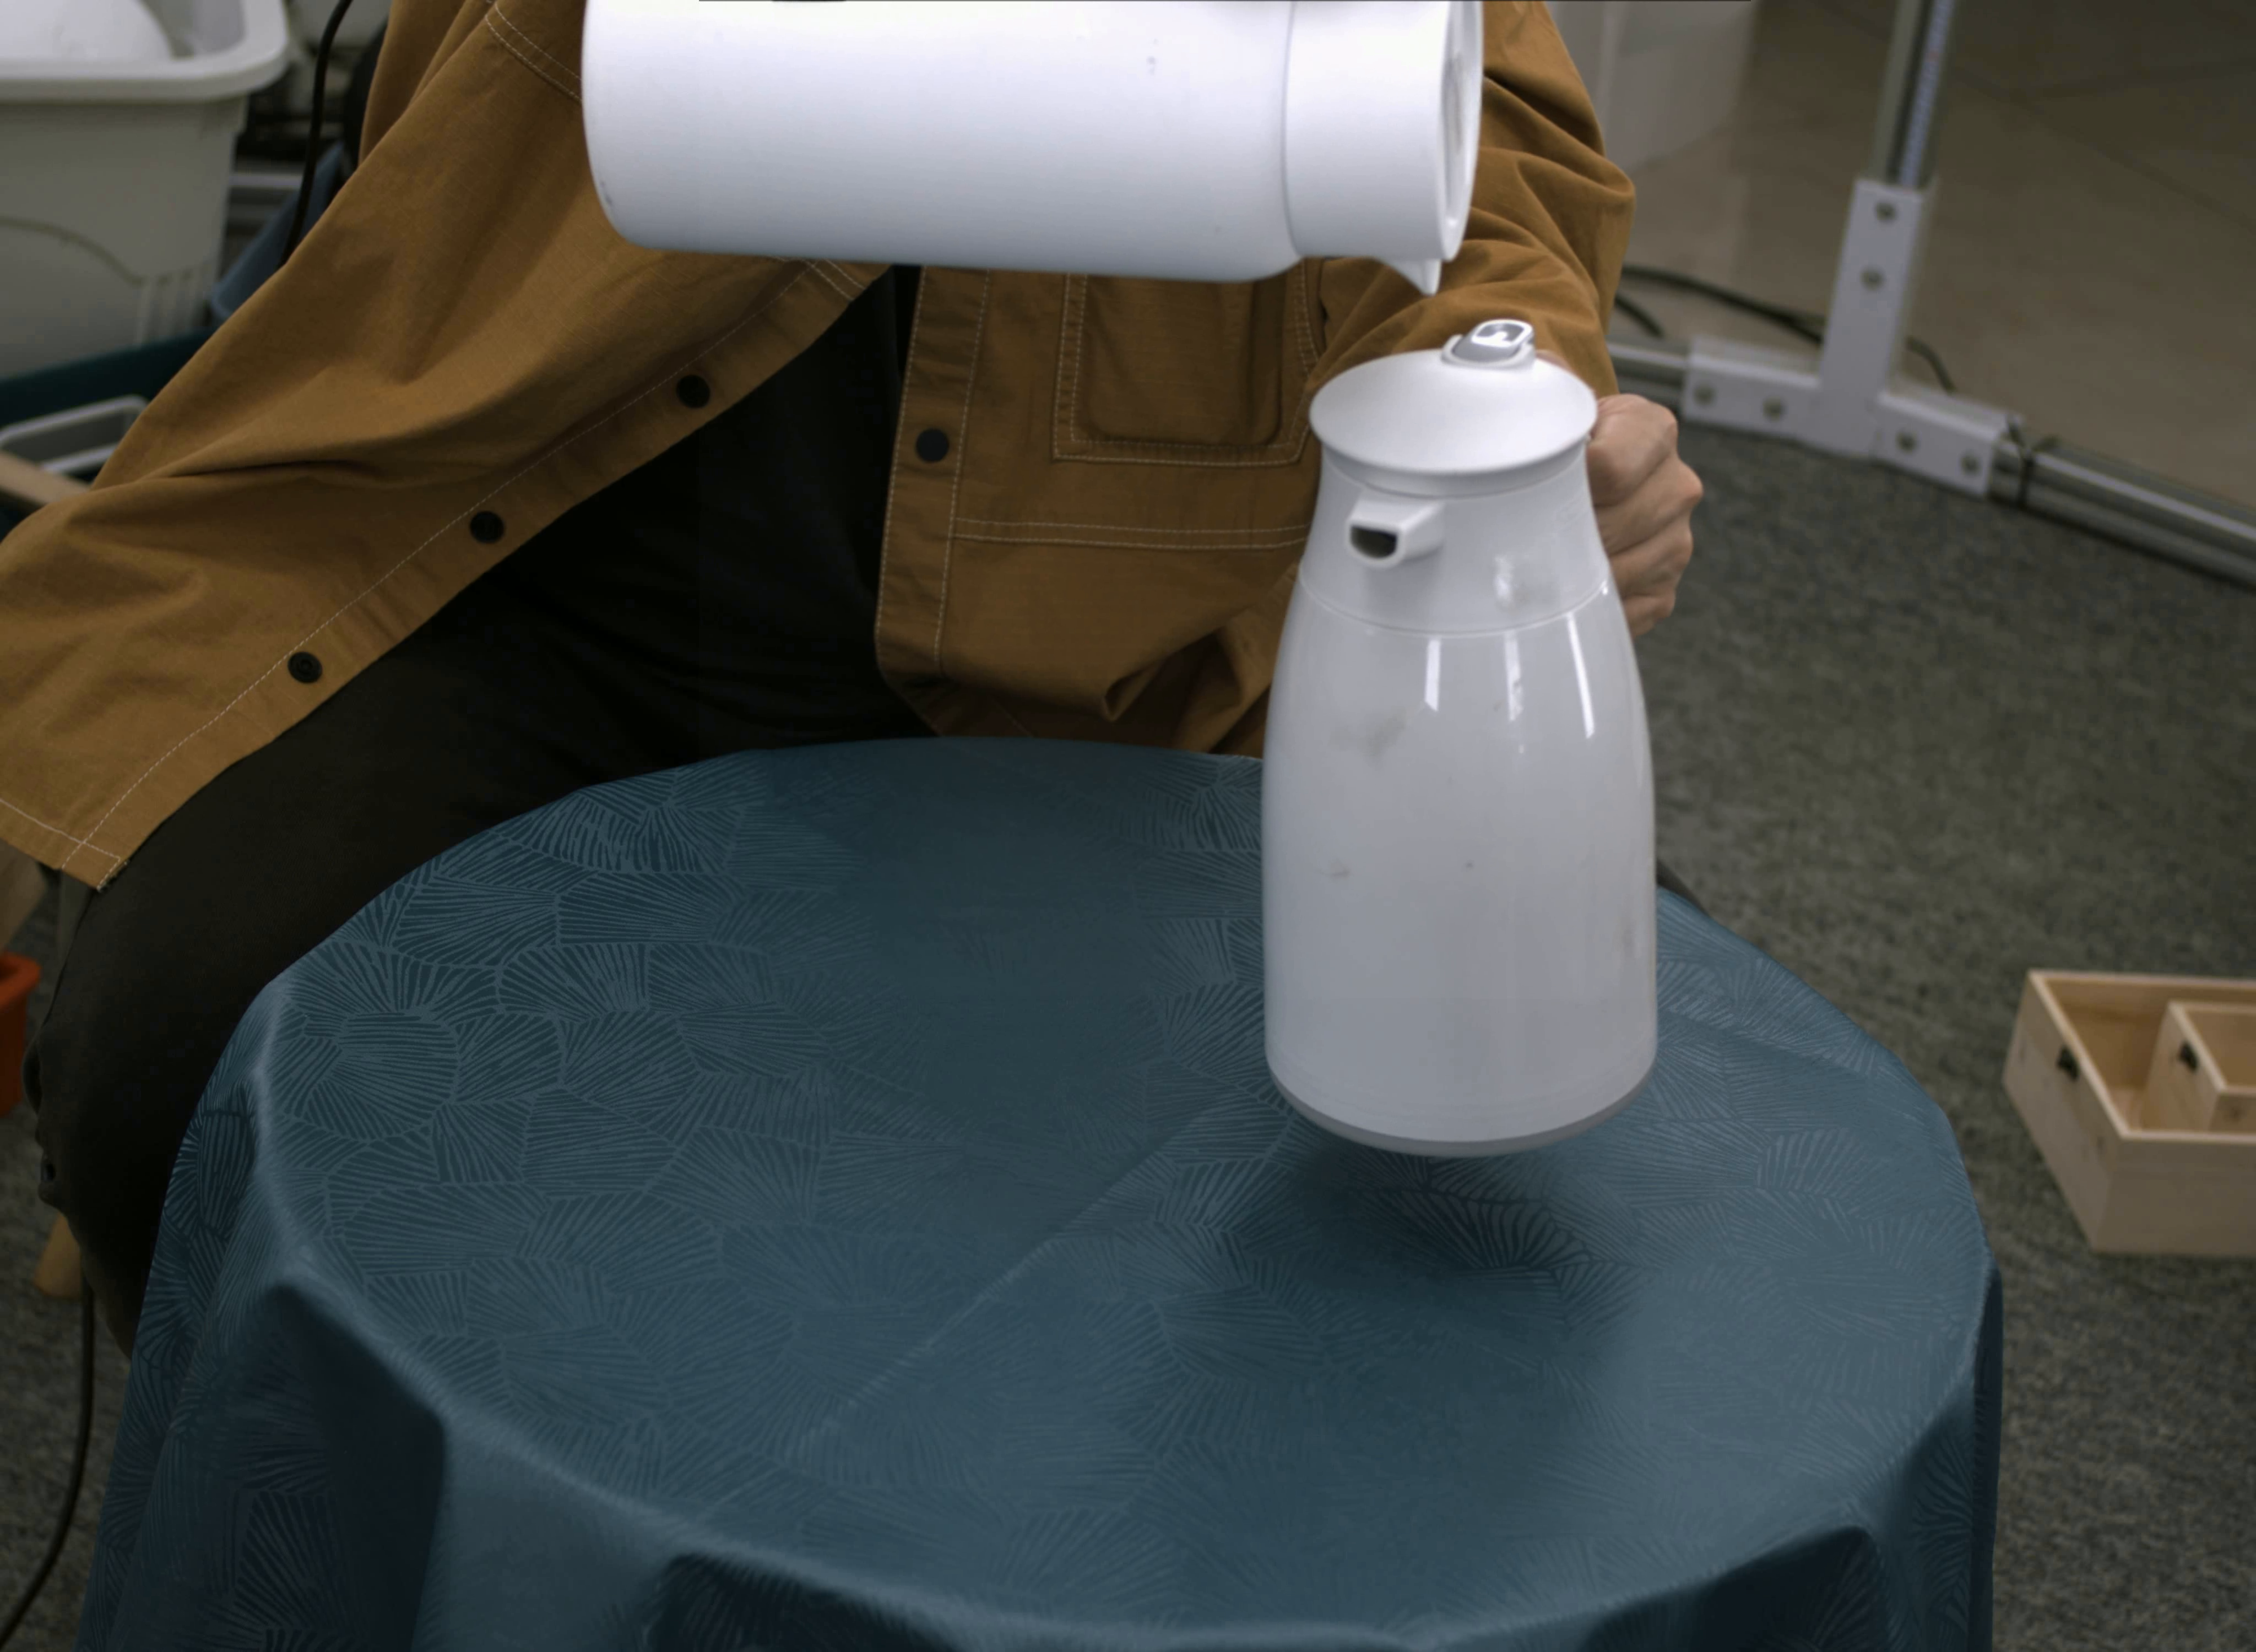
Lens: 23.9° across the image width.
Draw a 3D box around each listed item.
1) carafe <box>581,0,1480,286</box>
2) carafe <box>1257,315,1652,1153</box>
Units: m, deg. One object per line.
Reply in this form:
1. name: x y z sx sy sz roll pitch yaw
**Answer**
1. carafe: -0.030 -0.244 1.635 0.269 0.172 0.124 5 39 13
2. carafe: 0.113 -0.041 1.752 0.133 0.247 0.168 11 30 23
